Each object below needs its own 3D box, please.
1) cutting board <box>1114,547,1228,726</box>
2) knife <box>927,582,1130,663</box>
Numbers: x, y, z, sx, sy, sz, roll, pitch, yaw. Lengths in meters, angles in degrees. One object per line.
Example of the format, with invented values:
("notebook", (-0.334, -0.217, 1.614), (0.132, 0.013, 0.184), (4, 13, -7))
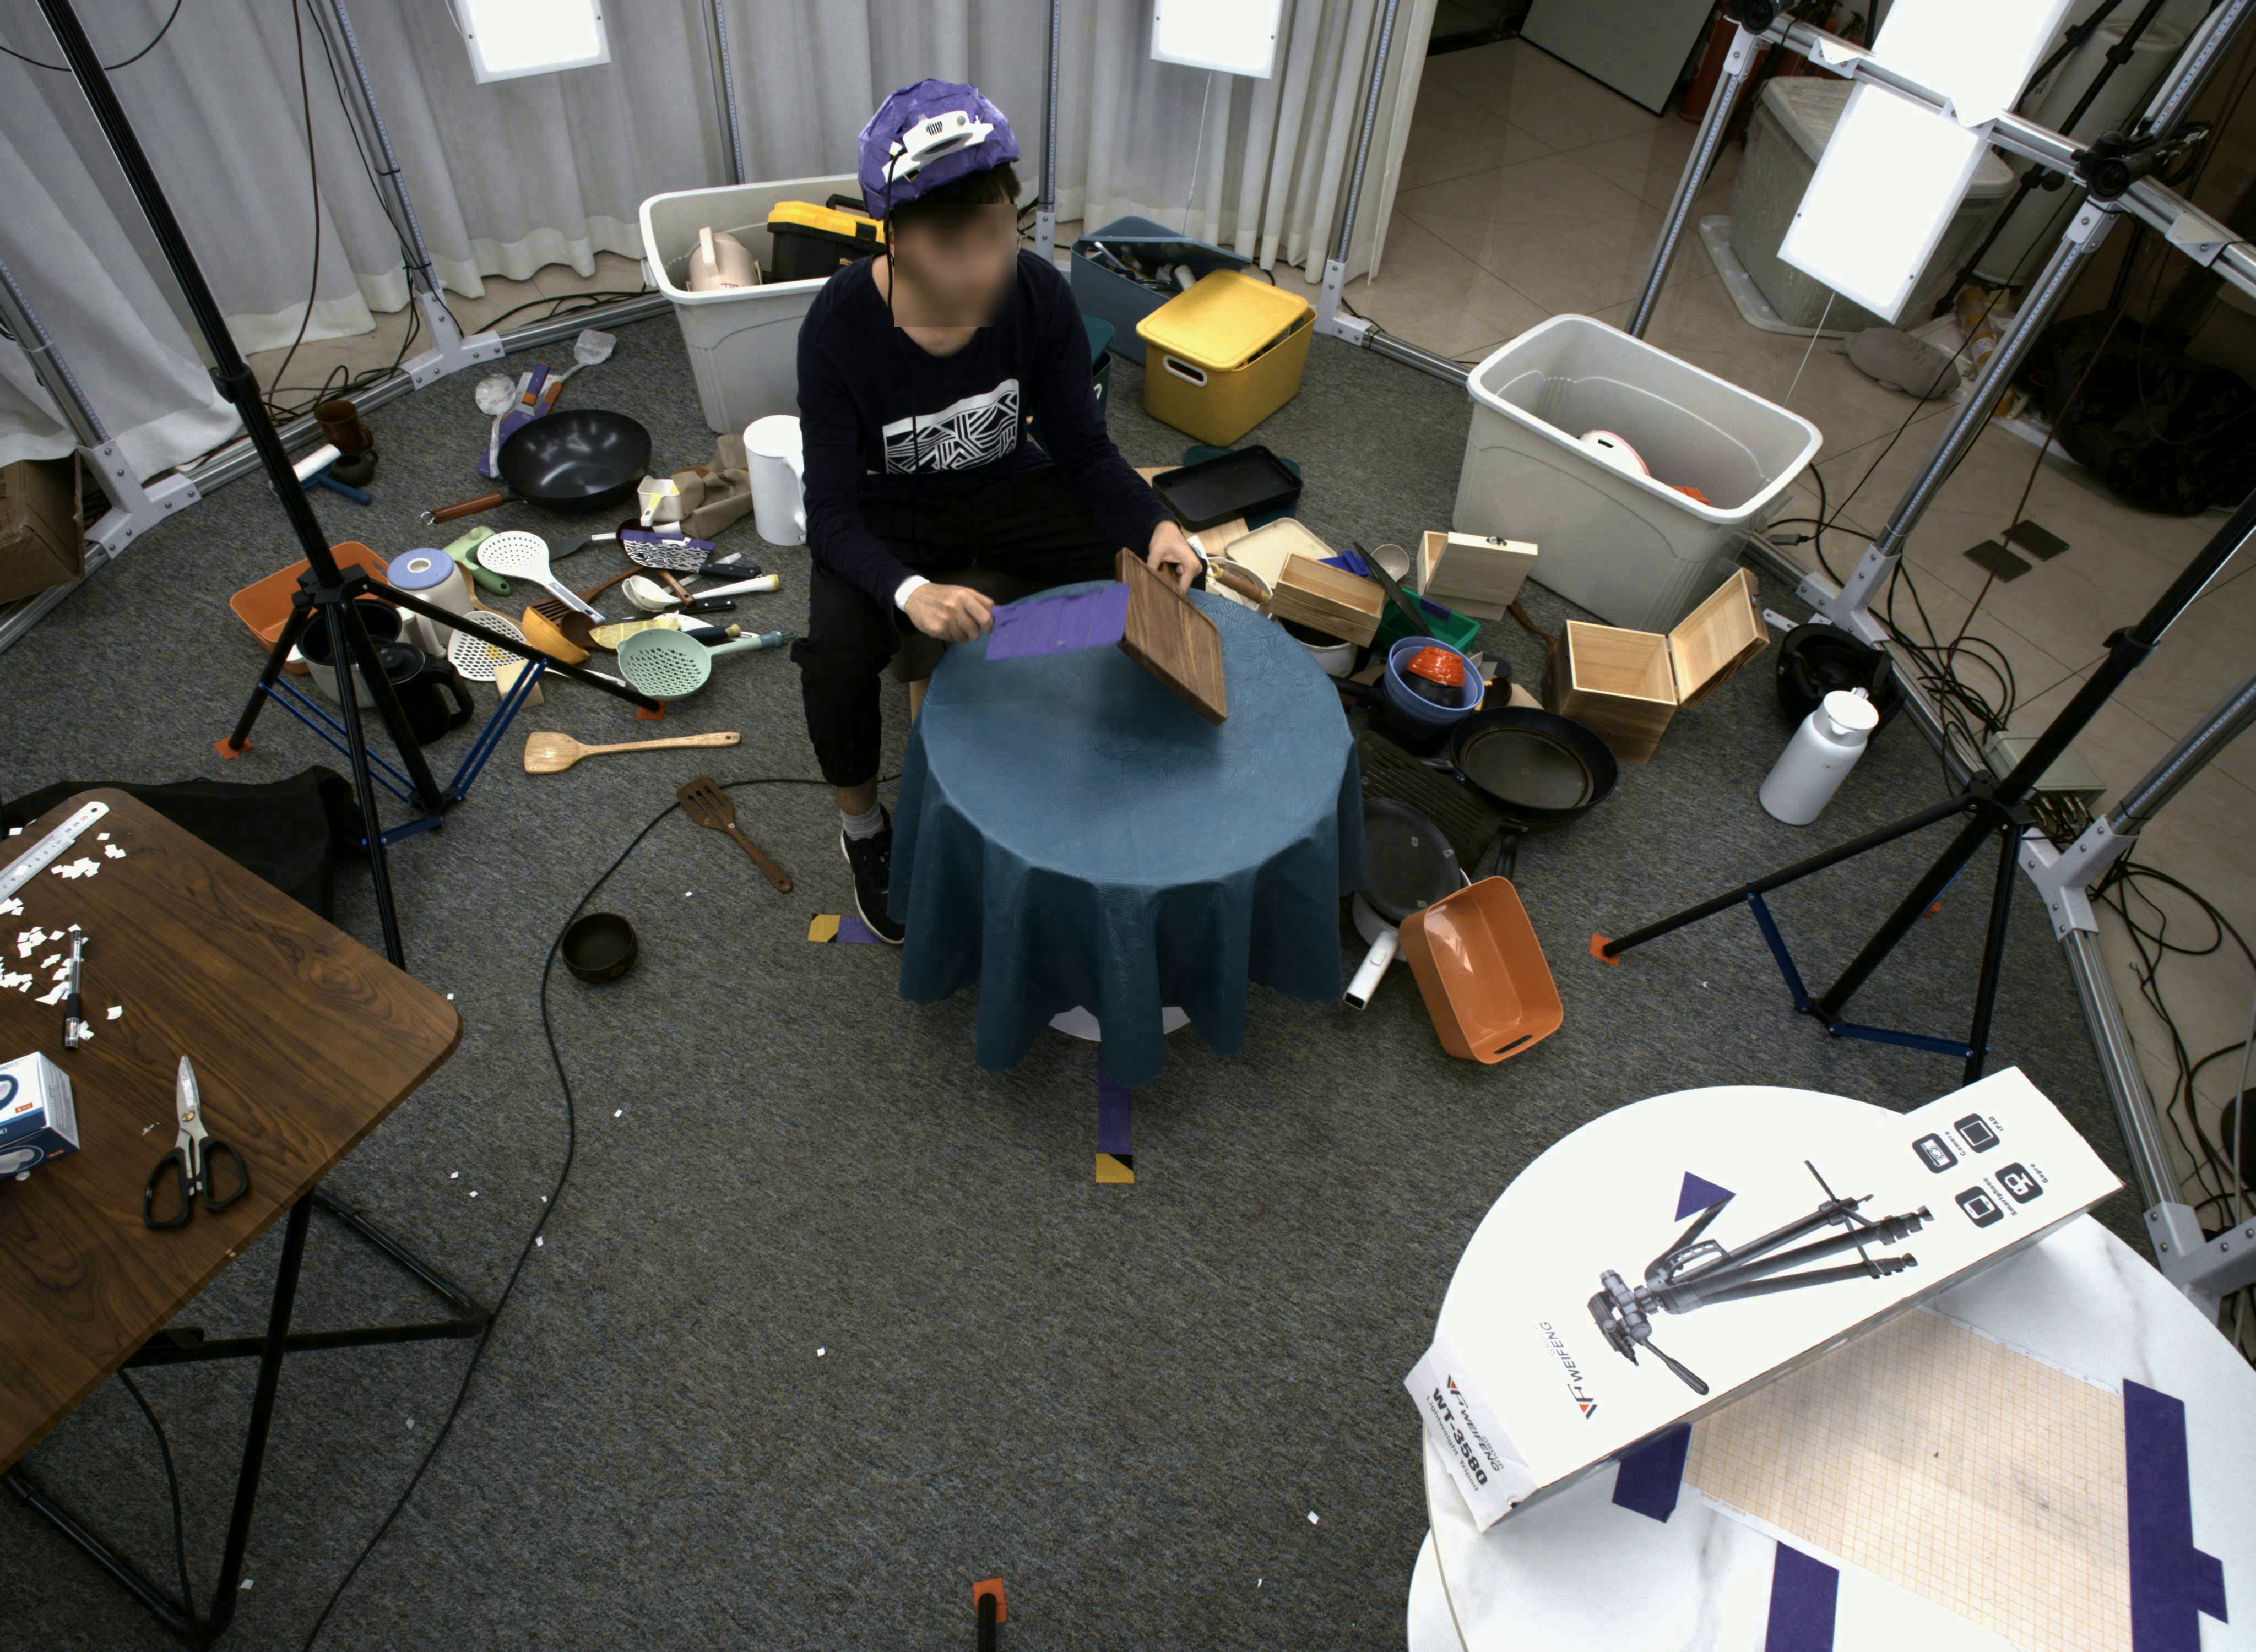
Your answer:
("cutting board", (0.059, -0.299, 1.830), (0.198, 0.023, 0.361), (35, 31, -25))
("knife", (-0.142, -0.263, 1.713), (0.316, 0.031, 0.106), (-4, 58, 30))
